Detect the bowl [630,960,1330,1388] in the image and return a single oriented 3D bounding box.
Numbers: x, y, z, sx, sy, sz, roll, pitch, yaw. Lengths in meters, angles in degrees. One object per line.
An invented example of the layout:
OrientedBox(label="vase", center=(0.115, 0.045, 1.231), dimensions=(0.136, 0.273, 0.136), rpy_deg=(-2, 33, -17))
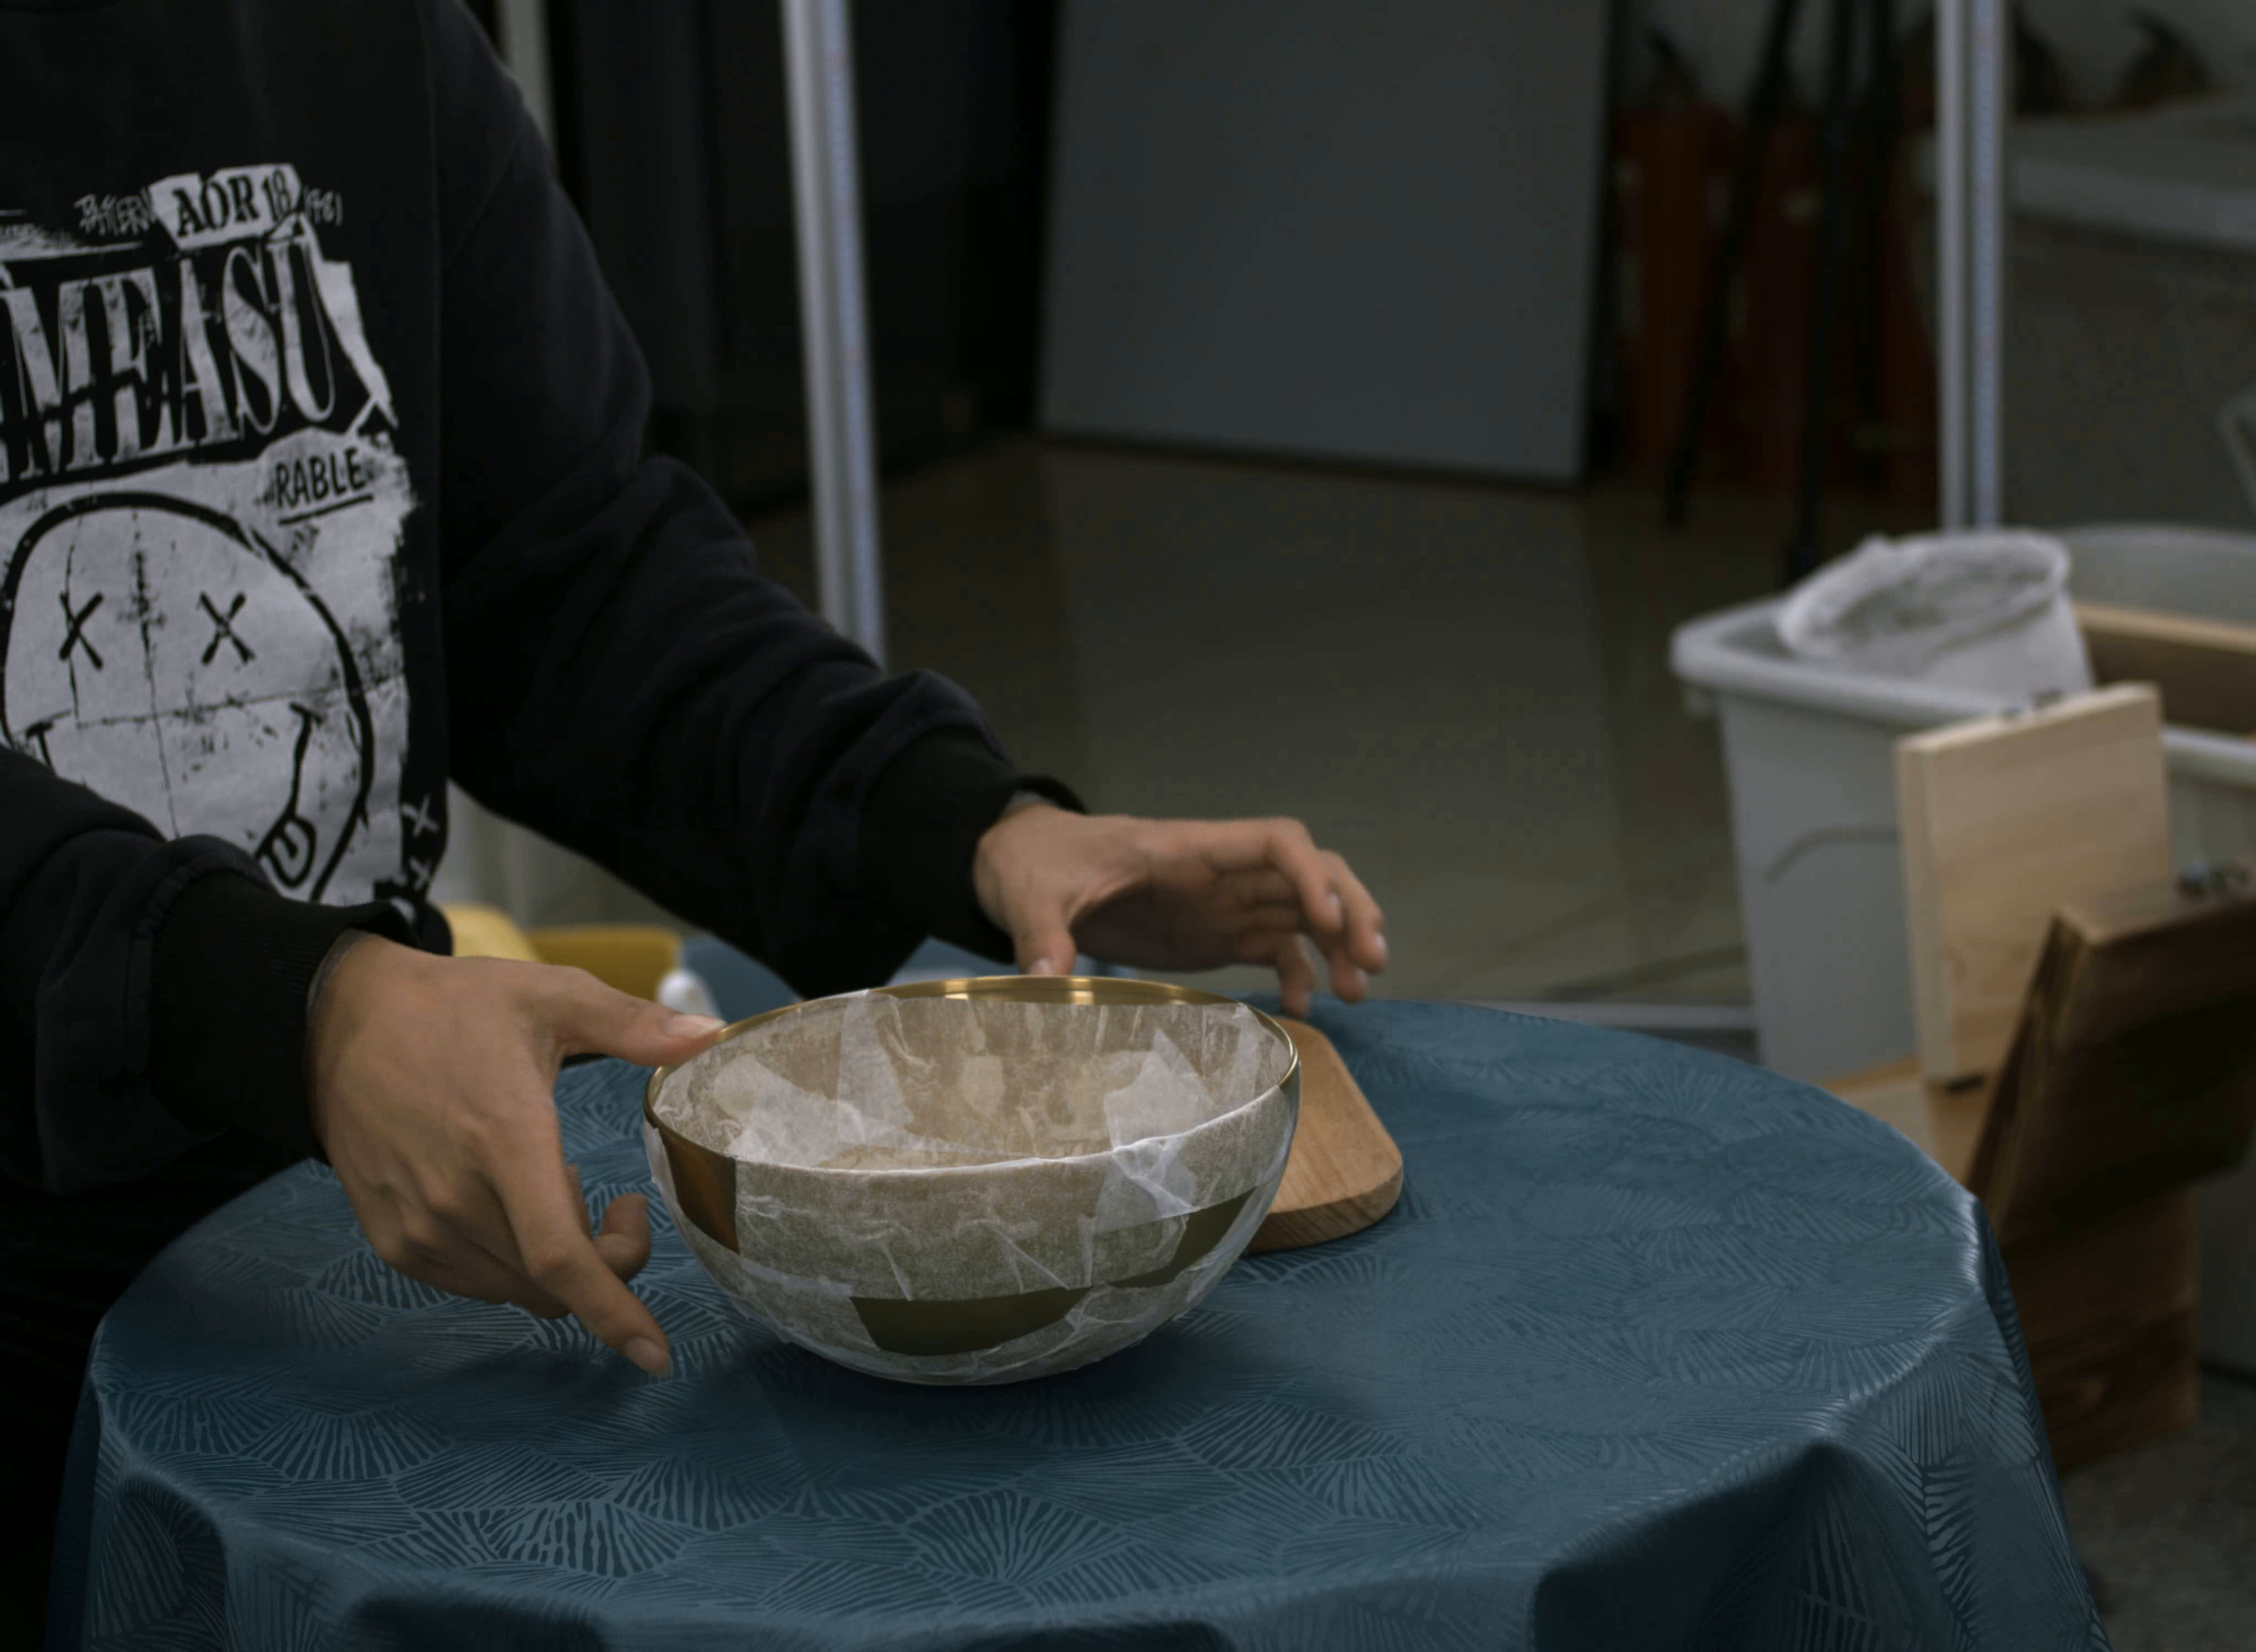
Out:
OrientedBox(label="bowl", center=(-0.042, 0.113, 1.624), dimensions=(0.212, 0.095, 0.215), rpy_deg=(-5, 14, 0))

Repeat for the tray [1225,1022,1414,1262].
OrientedBox(label="tray", center=(0.032, 0.103, 1.804), dimensions=(0.100, 0.020, 0.232), rpy_deg=(-8, 16, -7))
